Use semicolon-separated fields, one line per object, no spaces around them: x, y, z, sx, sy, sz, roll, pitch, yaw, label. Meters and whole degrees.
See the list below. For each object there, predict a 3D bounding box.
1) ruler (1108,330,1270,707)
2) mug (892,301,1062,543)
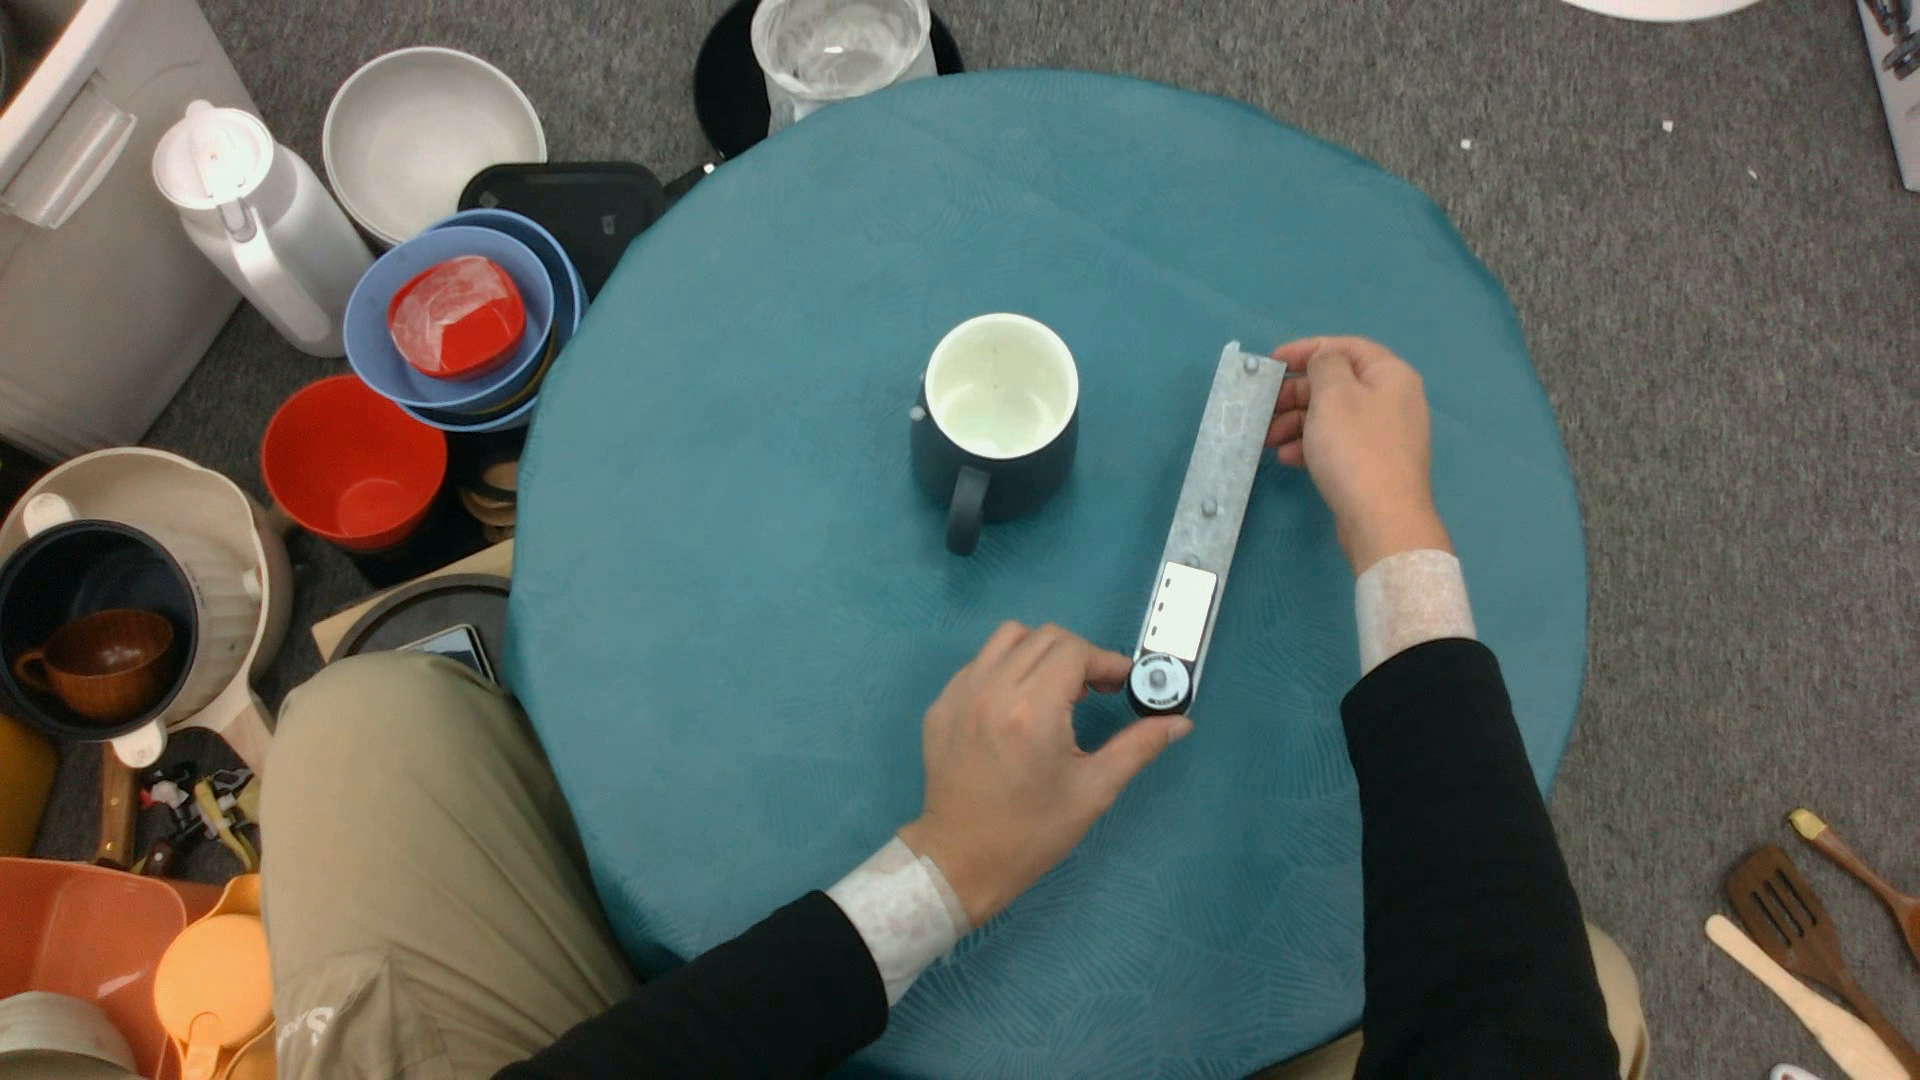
0.122;-0.017;0.724;0.038;0.024;0.219;18;72;5;ruler
0.006;-0.058;0.734;0.093;0.089;0.123;17;71;3;mug
